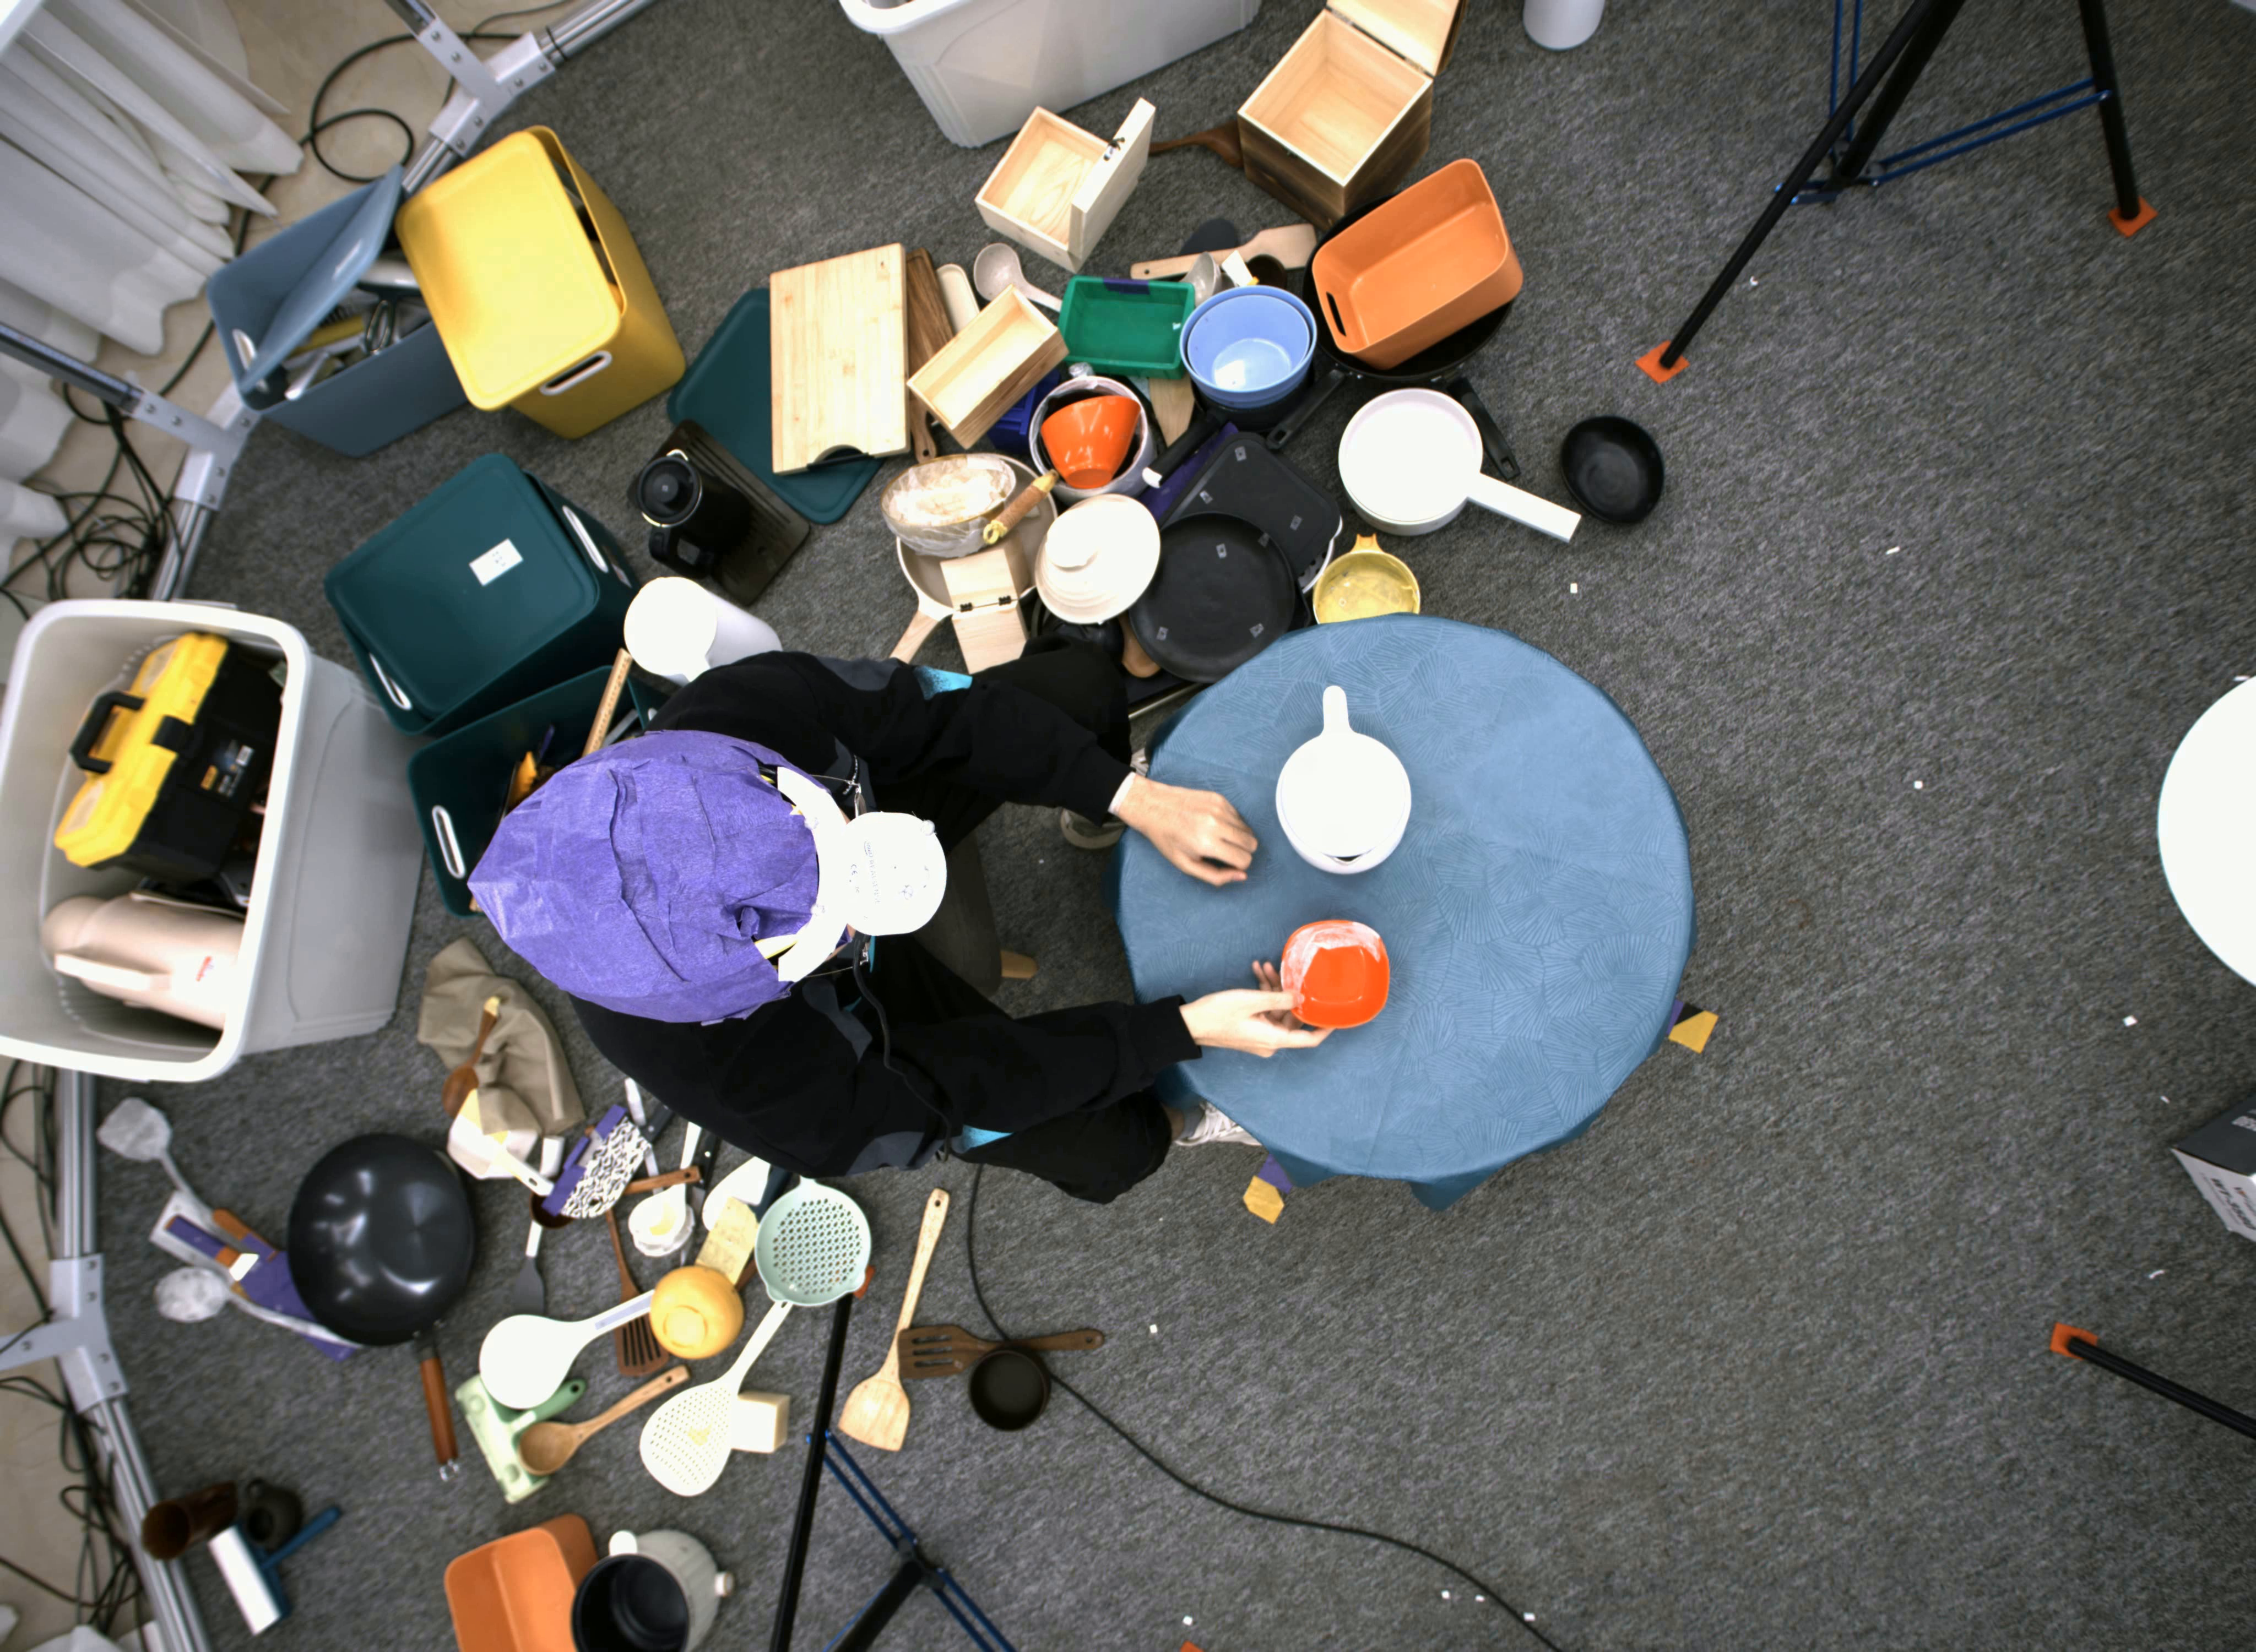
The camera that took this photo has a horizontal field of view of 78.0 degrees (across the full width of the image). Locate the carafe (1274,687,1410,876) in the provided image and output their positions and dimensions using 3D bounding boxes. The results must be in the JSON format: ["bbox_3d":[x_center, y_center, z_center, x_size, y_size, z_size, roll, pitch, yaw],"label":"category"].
[{"bbox_3d":[0.212,-0.046,1.386,0.133,0.183,0.189,-7,82,8],"label":"carafe"}]

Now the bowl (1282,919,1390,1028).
[{"bbox_3d":[0.214,0.150,1.431,0.119,0.051,0.118,0,89,7],"label":"bowl"}]
